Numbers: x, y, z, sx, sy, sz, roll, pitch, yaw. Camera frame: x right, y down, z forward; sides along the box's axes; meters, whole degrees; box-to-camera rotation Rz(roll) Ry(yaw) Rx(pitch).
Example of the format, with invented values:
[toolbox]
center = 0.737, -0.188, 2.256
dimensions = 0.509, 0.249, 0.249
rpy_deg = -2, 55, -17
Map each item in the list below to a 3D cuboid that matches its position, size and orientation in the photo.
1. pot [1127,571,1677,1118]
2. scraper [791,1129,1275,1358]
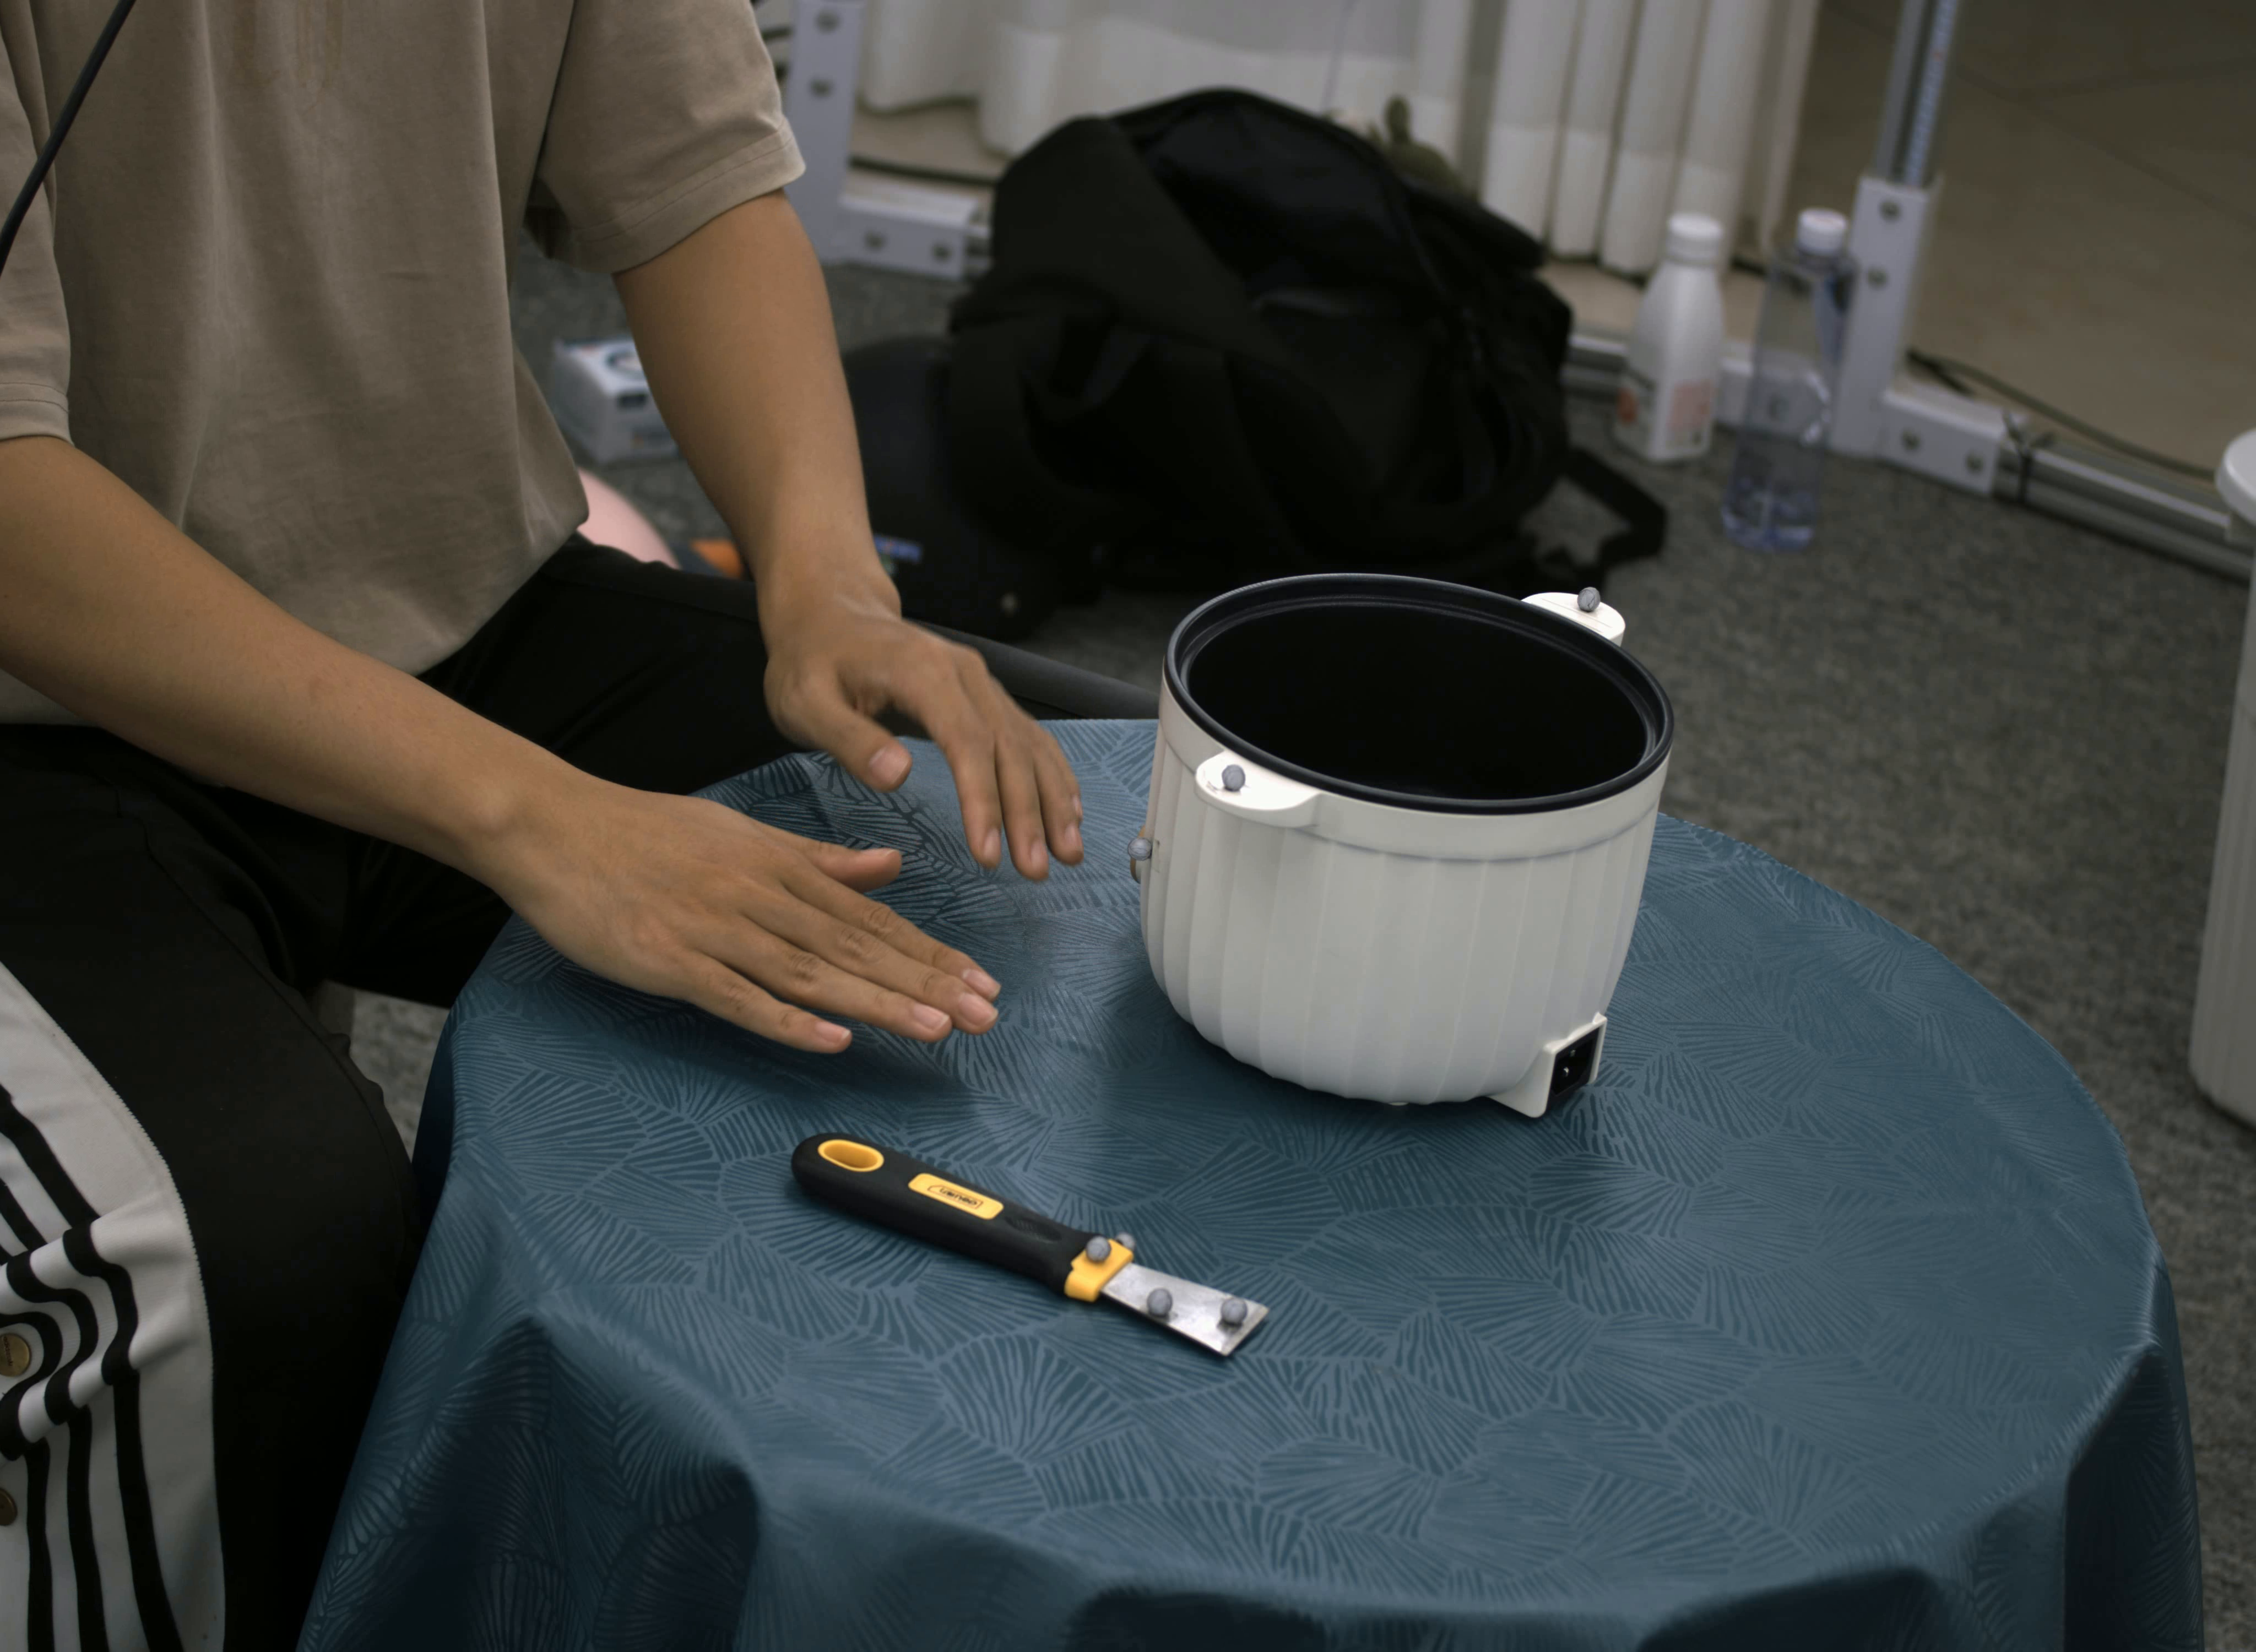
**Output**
[pot]
center = 0.090, 0.008, 1.901
dimensions = 0.191, 0.142, 0.239
rpy_deg = 27, 32, 27
[scraper]
center = -0.035, 0.137, 1.752
dimensions = 0.171, 0.015, 0.039
rpy_deg = 20, 33, 18
